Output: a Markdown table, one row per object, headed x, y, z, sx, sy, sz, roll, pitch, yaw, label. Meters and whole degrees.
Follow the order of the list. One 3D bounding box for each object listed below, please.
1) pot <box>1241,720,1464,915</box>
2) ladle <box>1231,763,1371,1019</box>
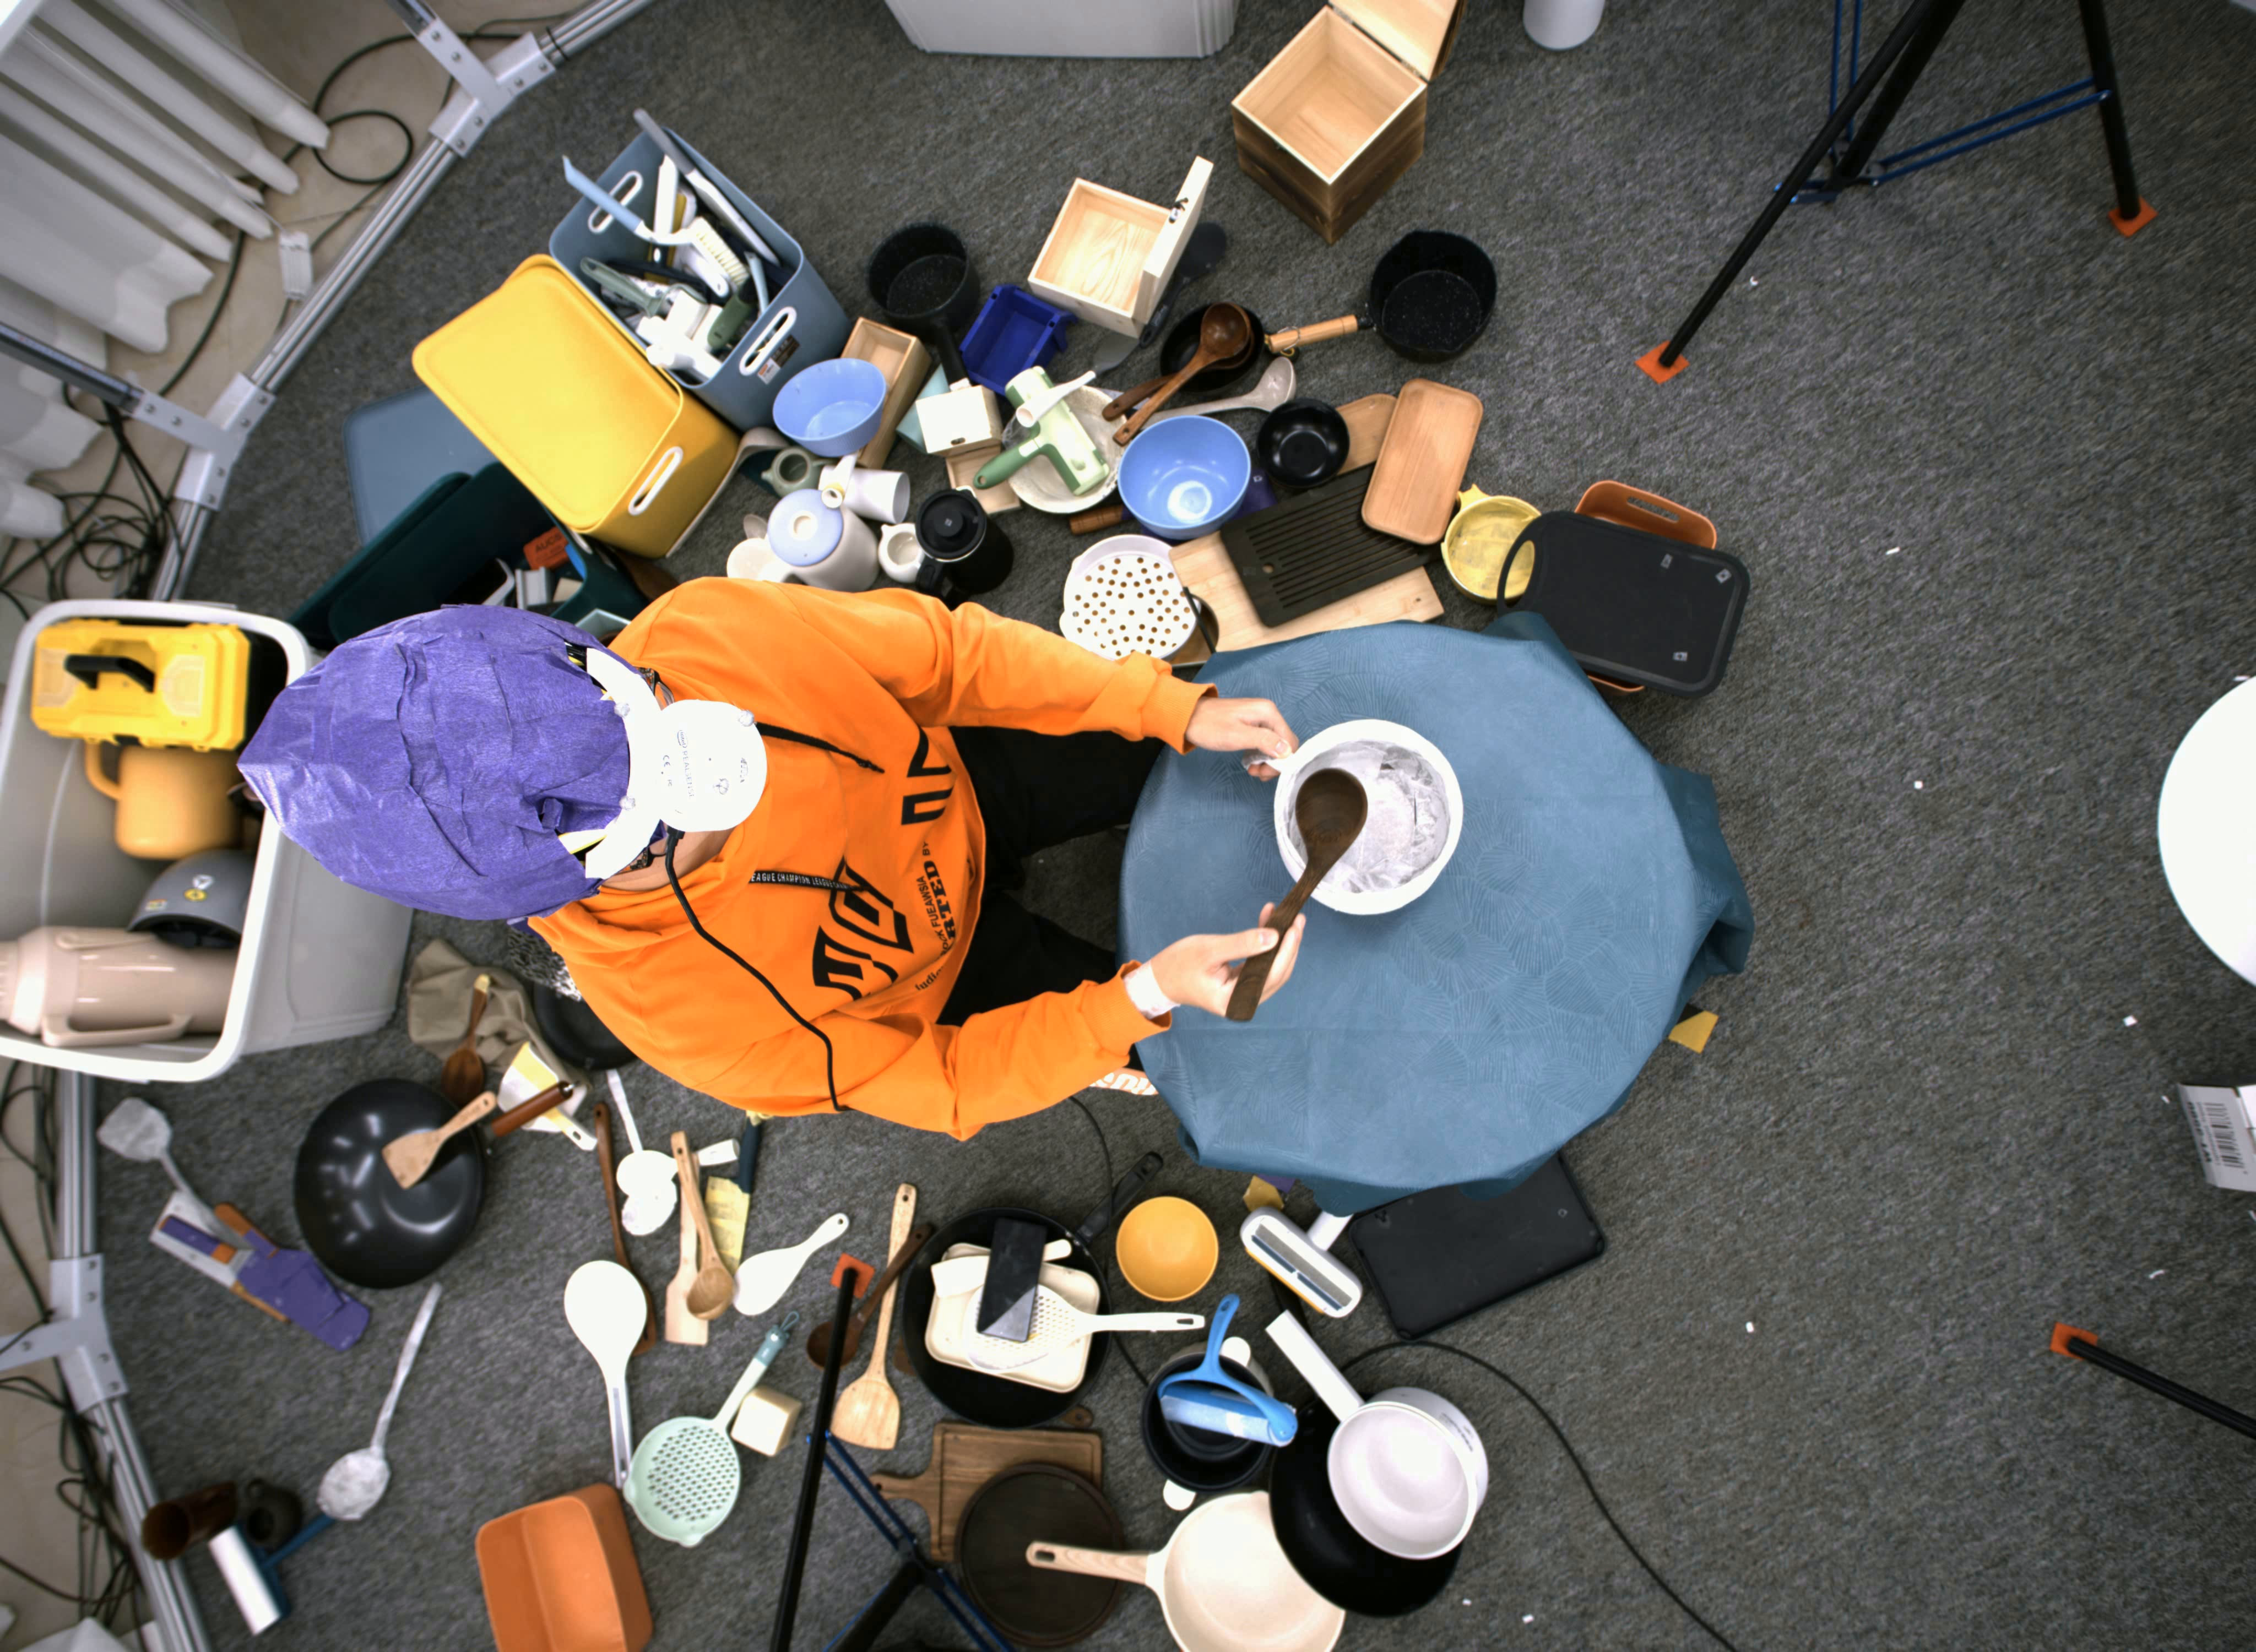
| x | y | z | sx | sy | sz | roll | pitch | yaw | label |
| --- | --- | --- | --- | --- | --- | --- | --- | --- | --- |
| 0.211 | -0.020 | 1.365 | 0.233 | 0.137 | 0.178 | 34 | 87 | 11 | pot |
| 0.145 | 0.049 | 1.237 | 0.077 | 0.267 | 0.072 | -2 | 130 | 40 | ladle |
